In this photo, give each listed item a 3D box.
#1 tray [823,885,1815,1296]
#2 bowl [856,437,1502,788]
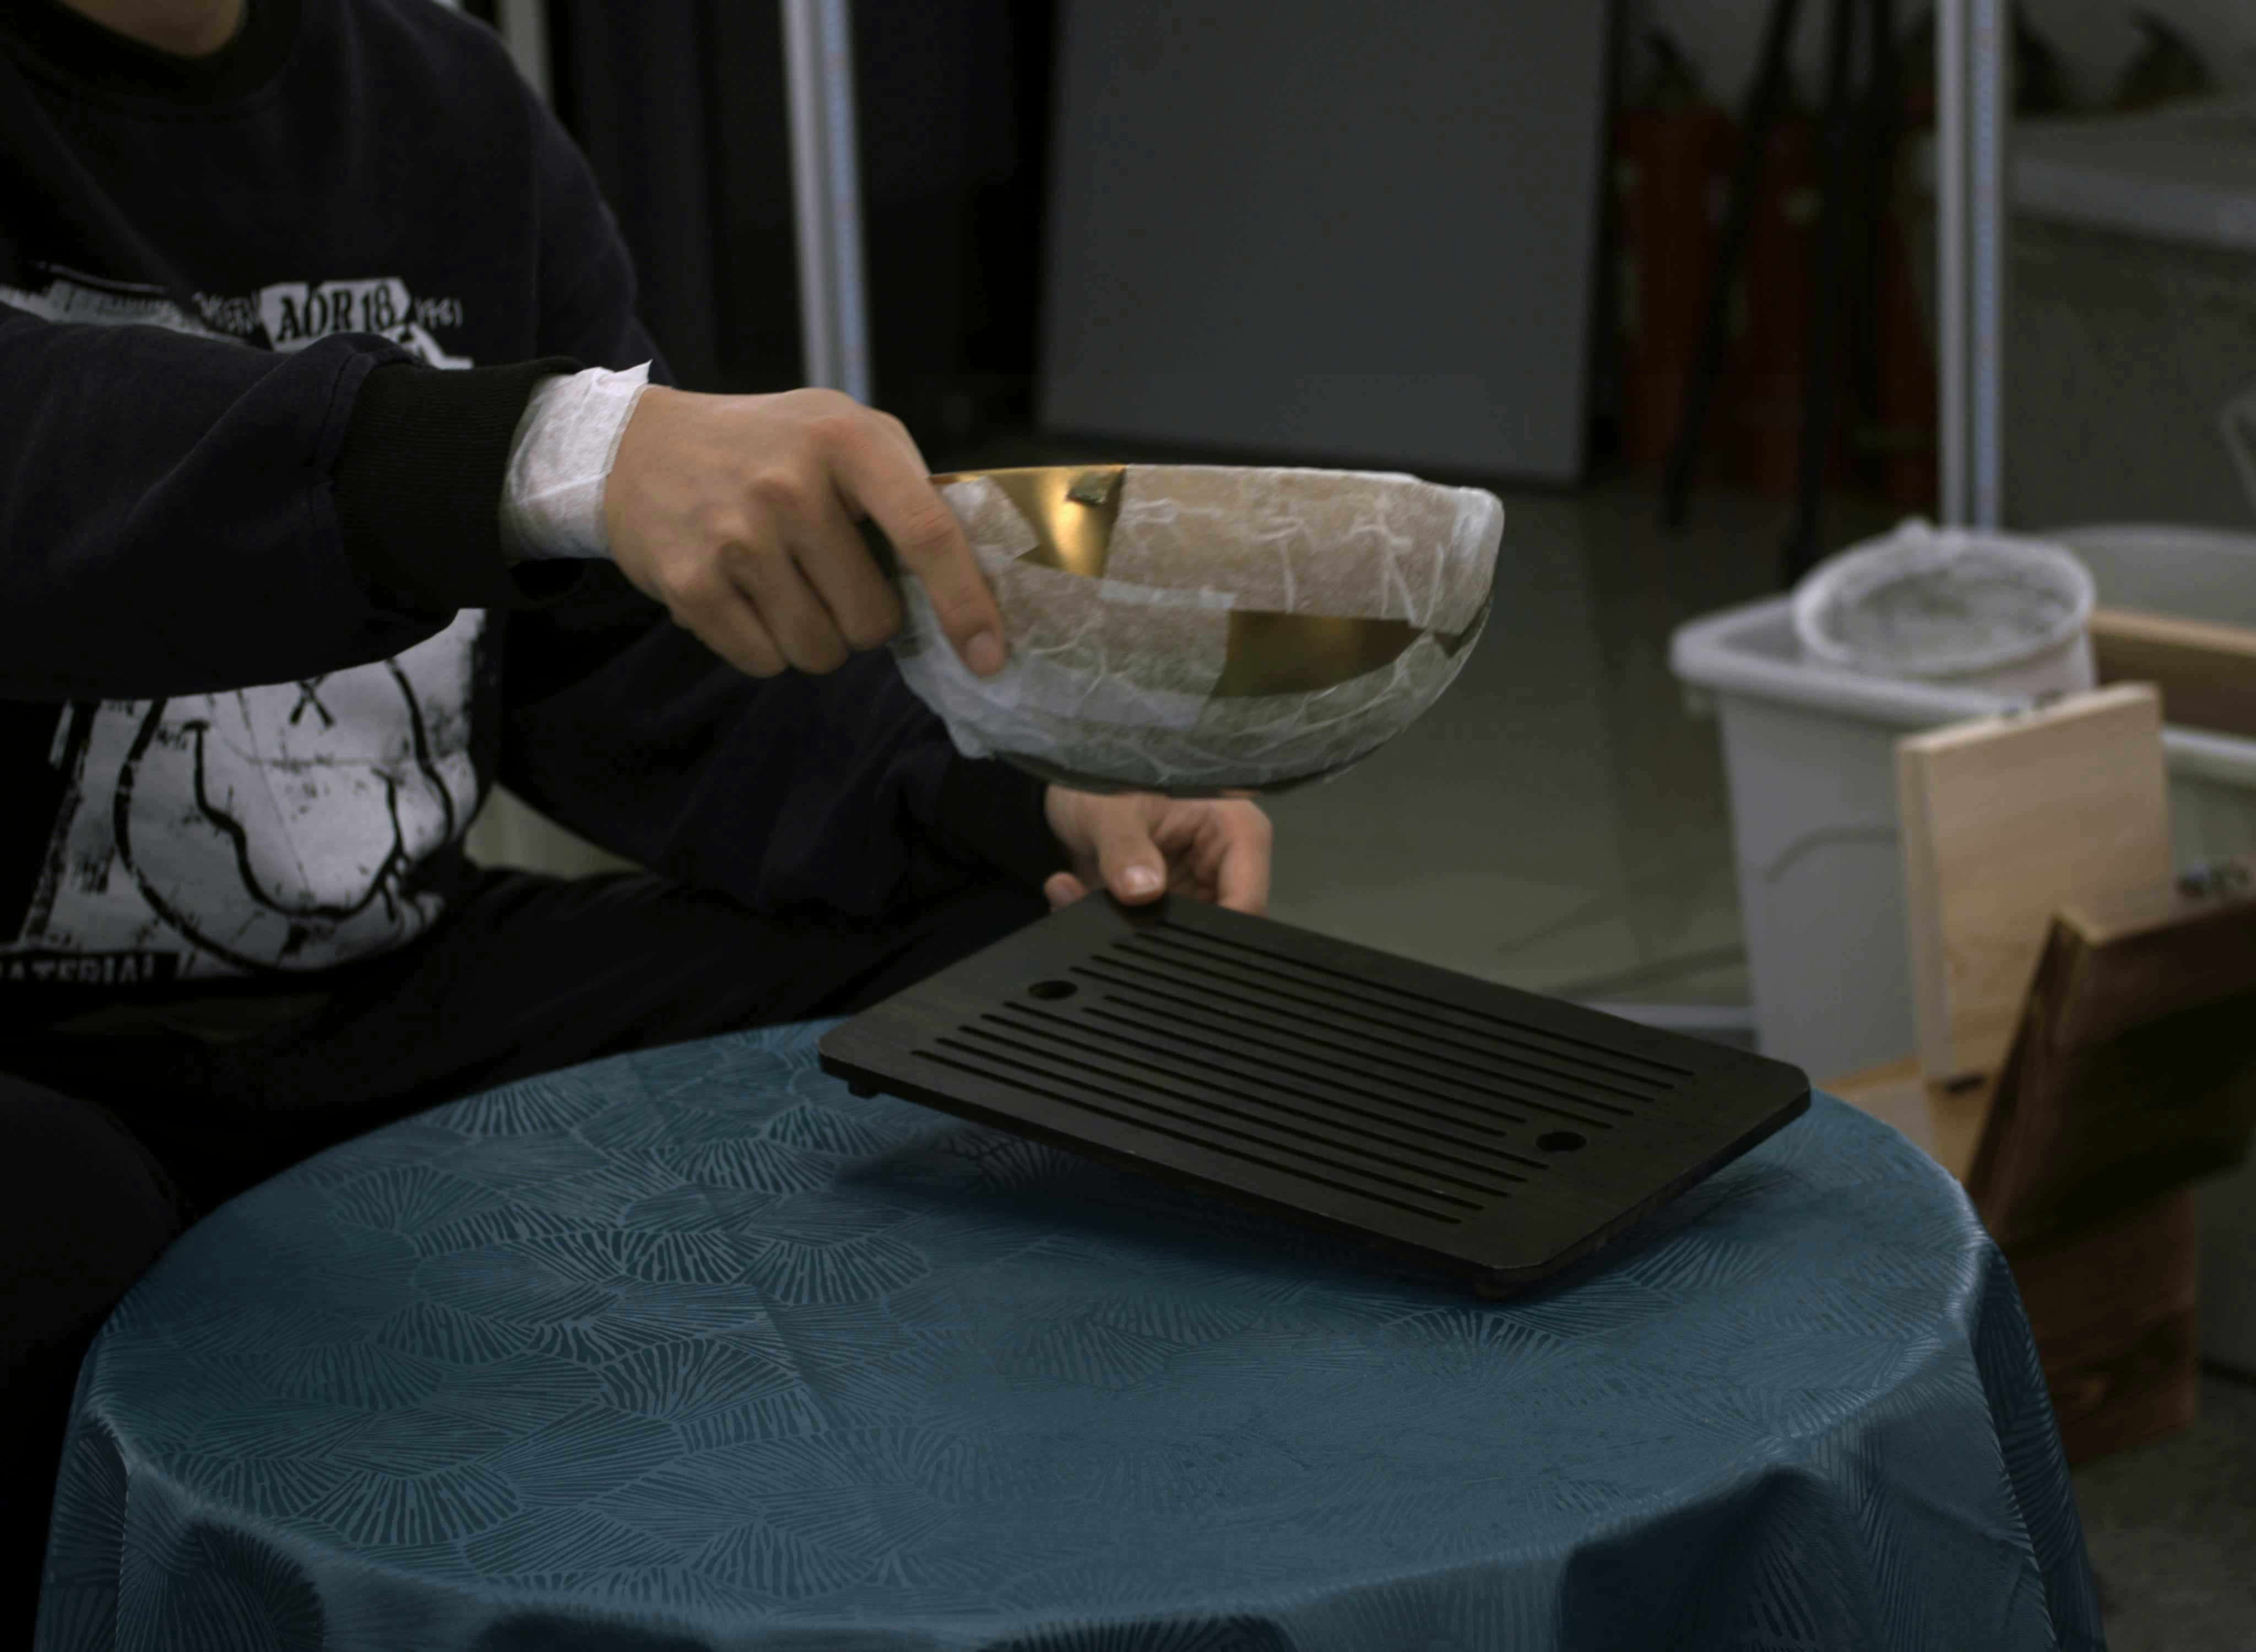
[{"bbox_3d":[0.060,0.084,1.780,0.308,0.019,0.167,14,29,39],"label":"tray"},{"bbox_3d":[0.014,-0.060,1.662,0.212,0.096,0.215,0,-3,-1],"label":"bowl"}]
